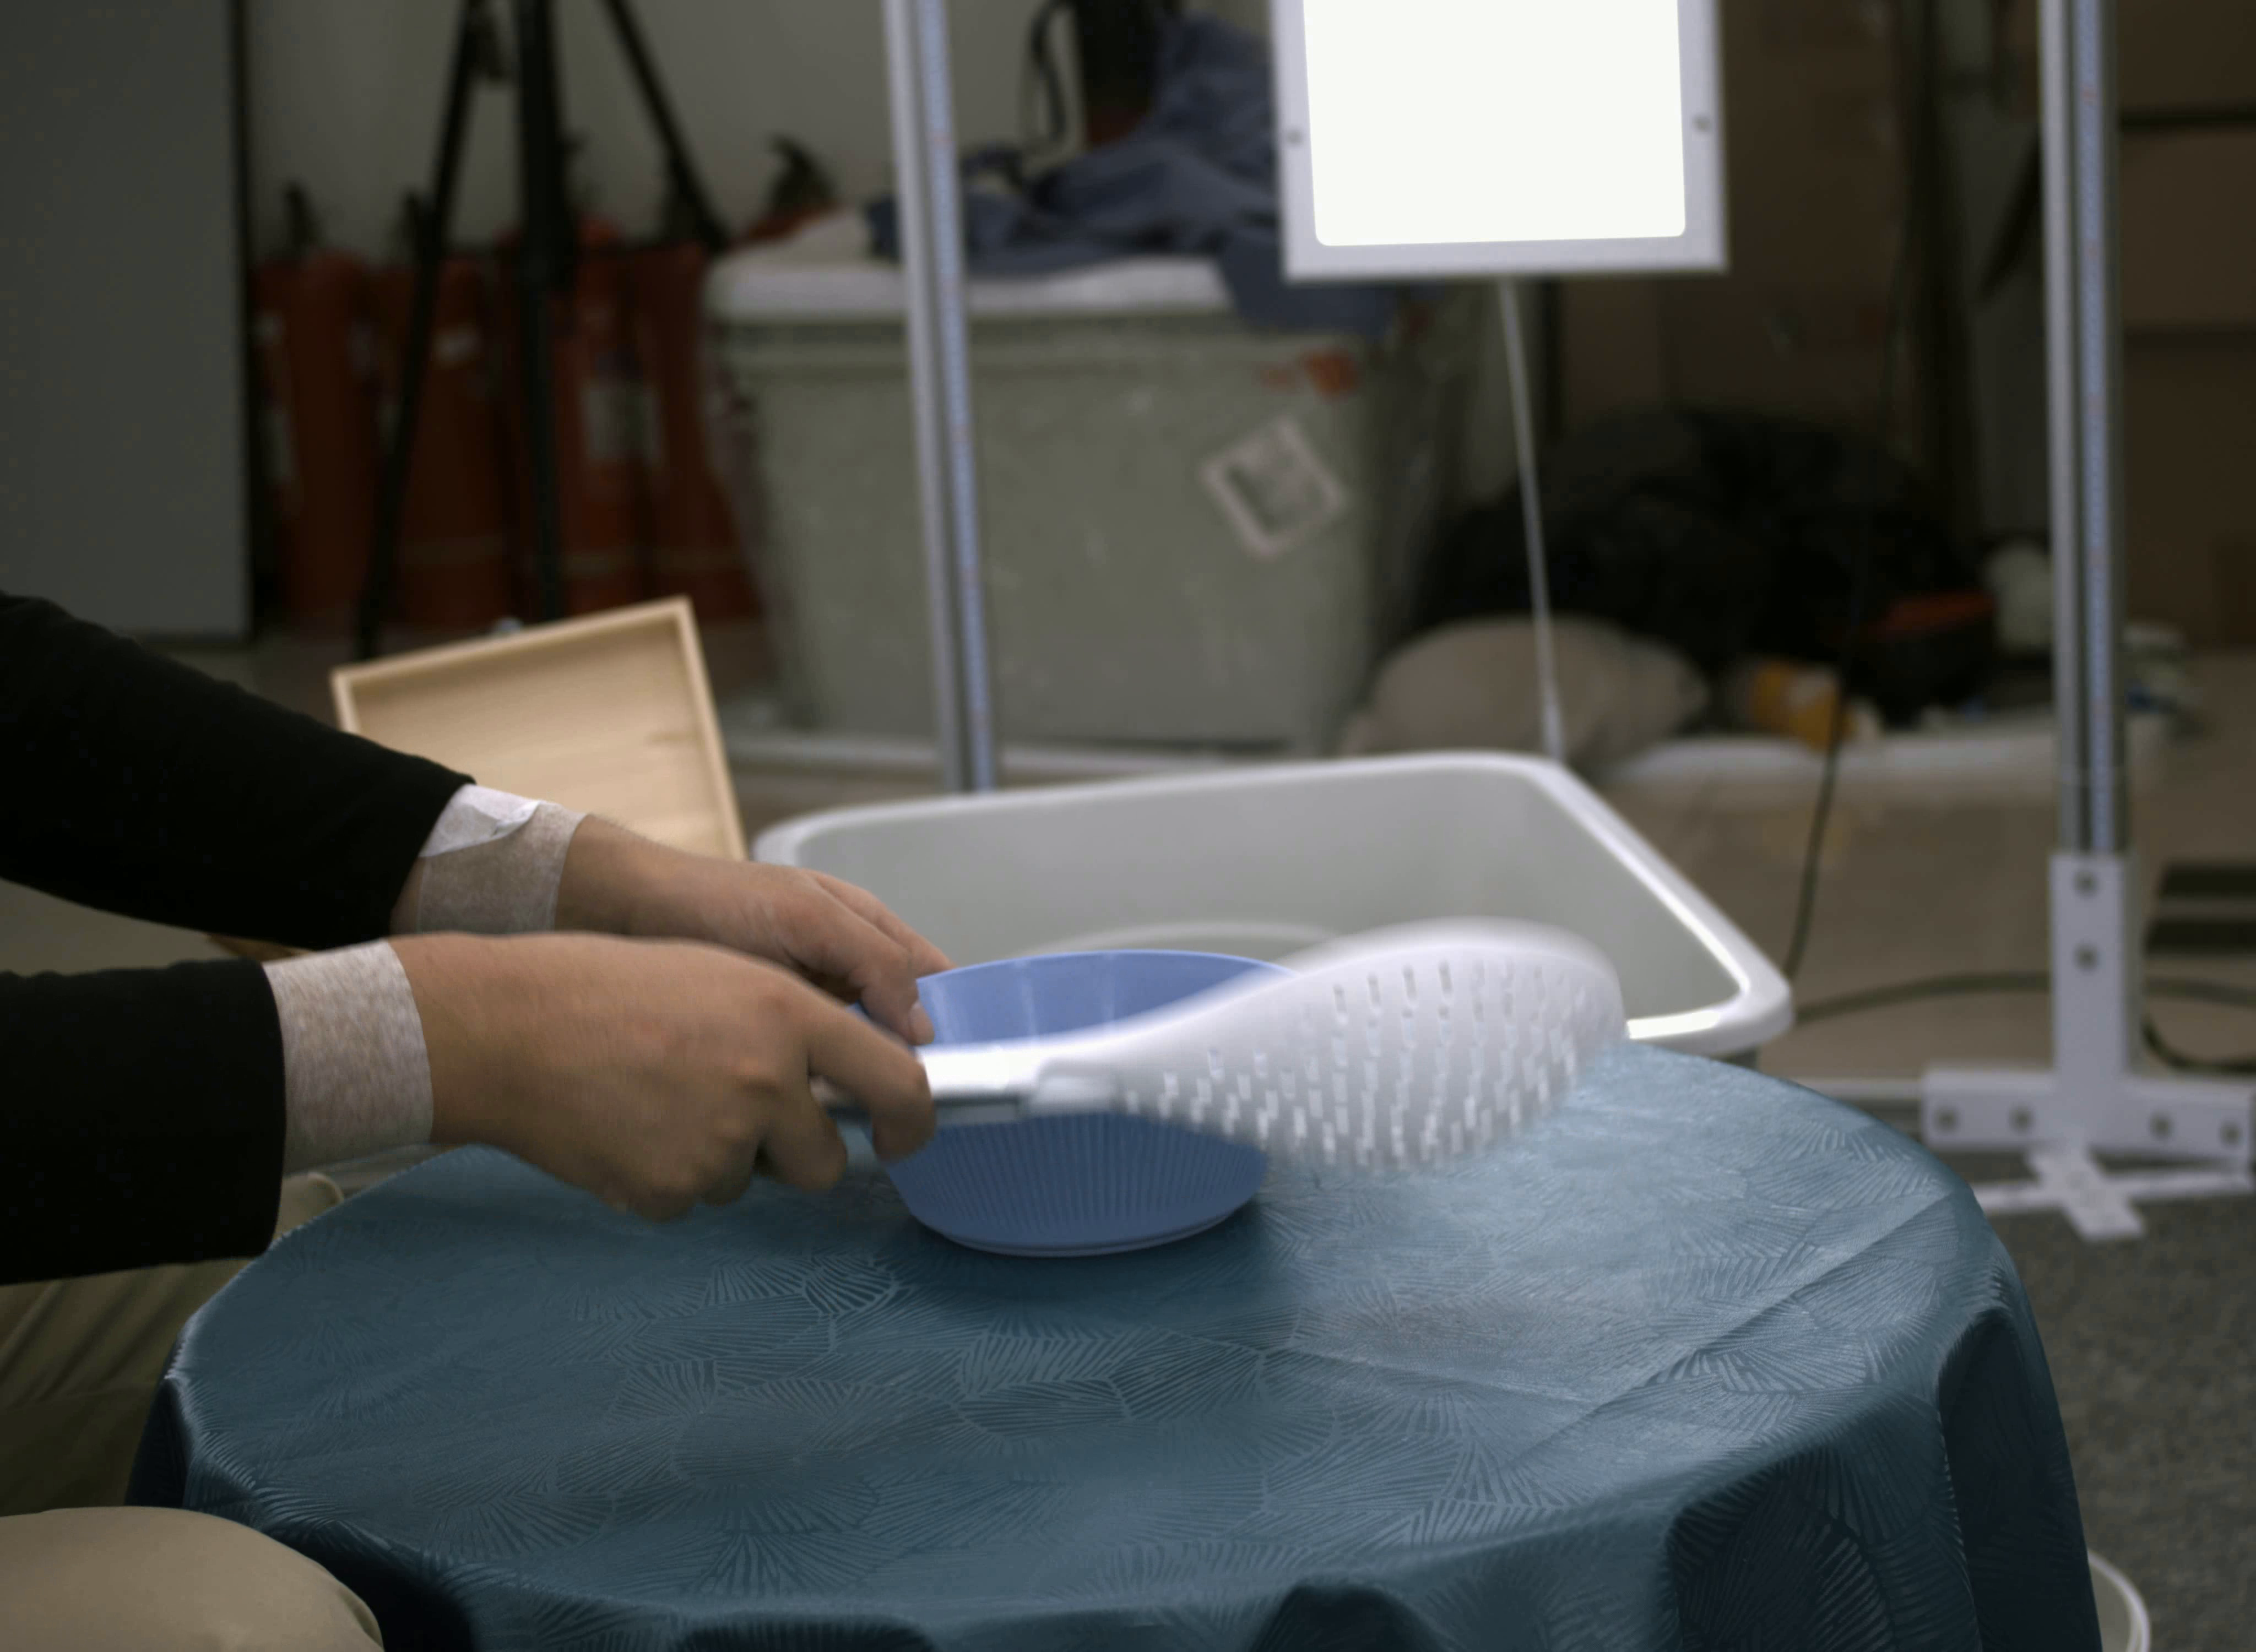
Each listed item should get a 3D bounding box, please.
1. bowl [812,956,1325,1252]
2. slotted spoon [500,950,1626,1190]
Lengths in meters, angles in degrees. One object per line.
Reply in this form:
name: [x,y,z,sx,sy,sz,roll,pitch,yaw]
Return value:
bowl: [-0.018,0.097,1.878,0.175,0.070,0.176,-6,13,0]
slotted spoon: [-0.017,0.081,1.687,0.347,0.045,0.137,2,-28,-6]
